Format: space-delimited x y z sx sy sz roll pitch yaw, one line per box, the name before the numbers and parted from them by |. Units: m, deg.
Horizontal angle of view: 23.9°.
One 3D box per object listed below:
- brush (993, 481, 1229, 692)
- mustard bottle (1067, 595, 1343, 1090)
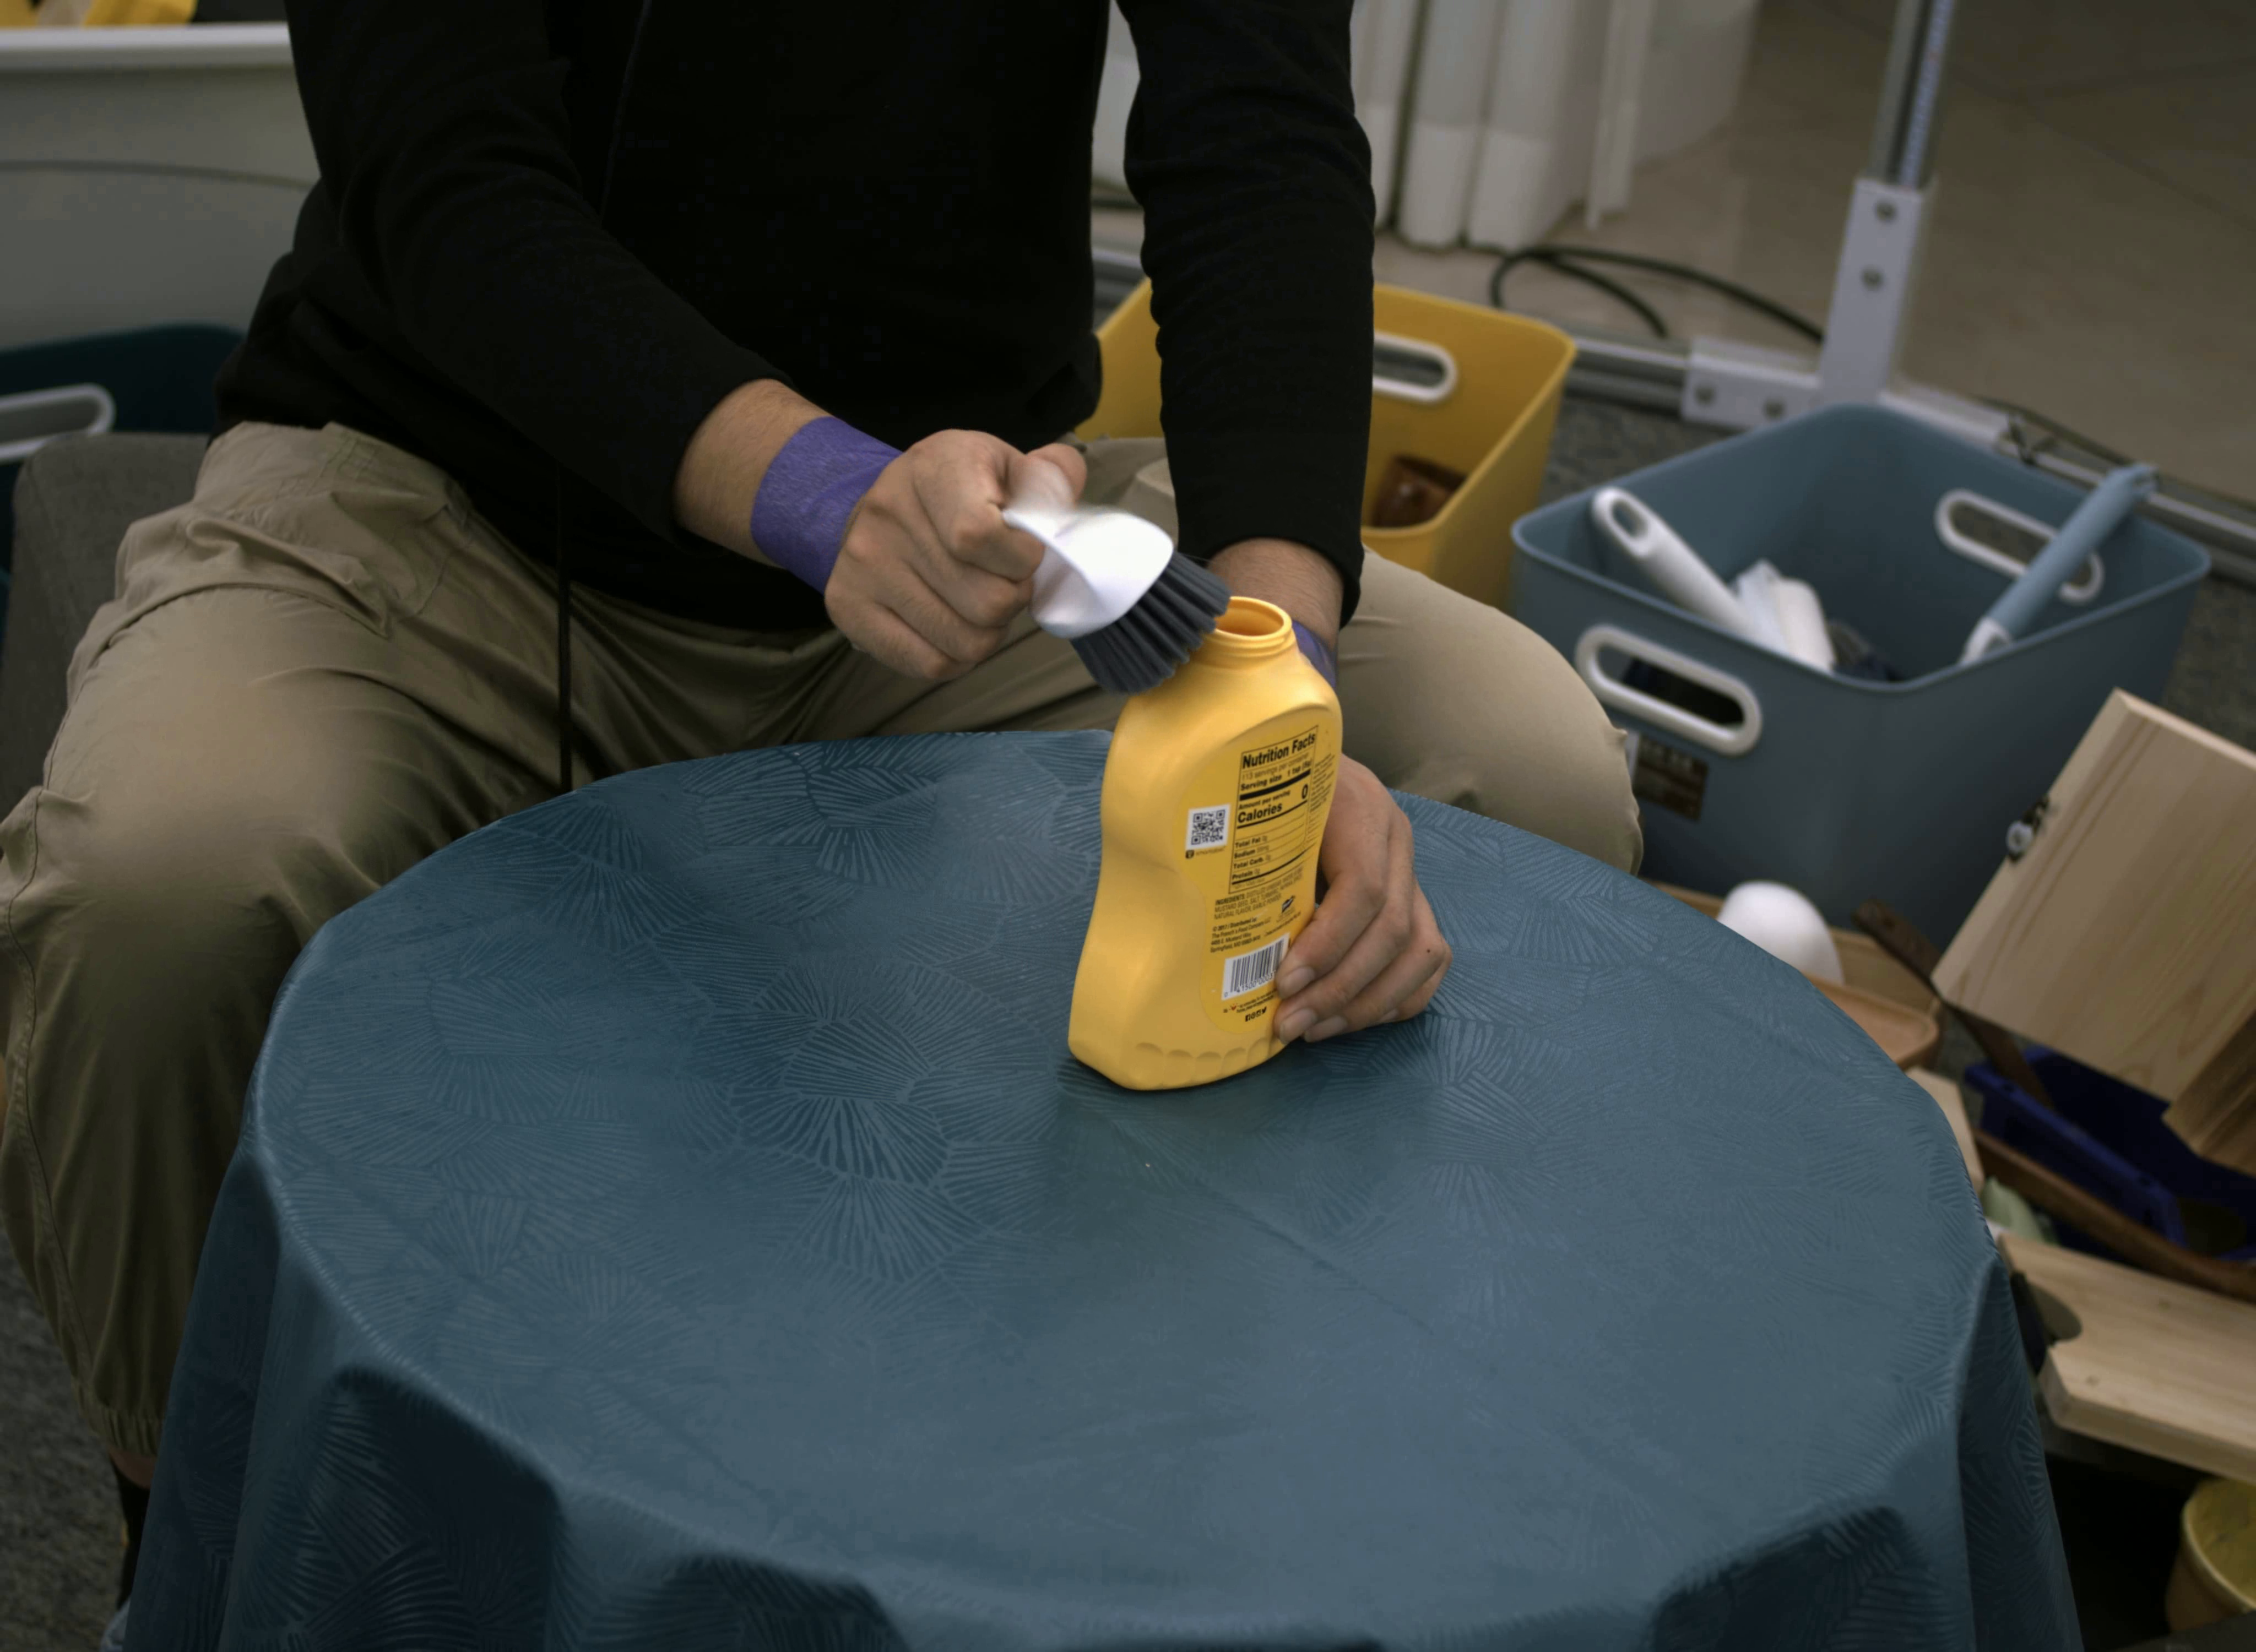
brush | -0.013 -0.089 1.816 0.072 0.050 0.099 43 -4 -13
mustard bottle | 0.029 0.003 1.858 0.098 0.171 0.060 -19 35 -38
